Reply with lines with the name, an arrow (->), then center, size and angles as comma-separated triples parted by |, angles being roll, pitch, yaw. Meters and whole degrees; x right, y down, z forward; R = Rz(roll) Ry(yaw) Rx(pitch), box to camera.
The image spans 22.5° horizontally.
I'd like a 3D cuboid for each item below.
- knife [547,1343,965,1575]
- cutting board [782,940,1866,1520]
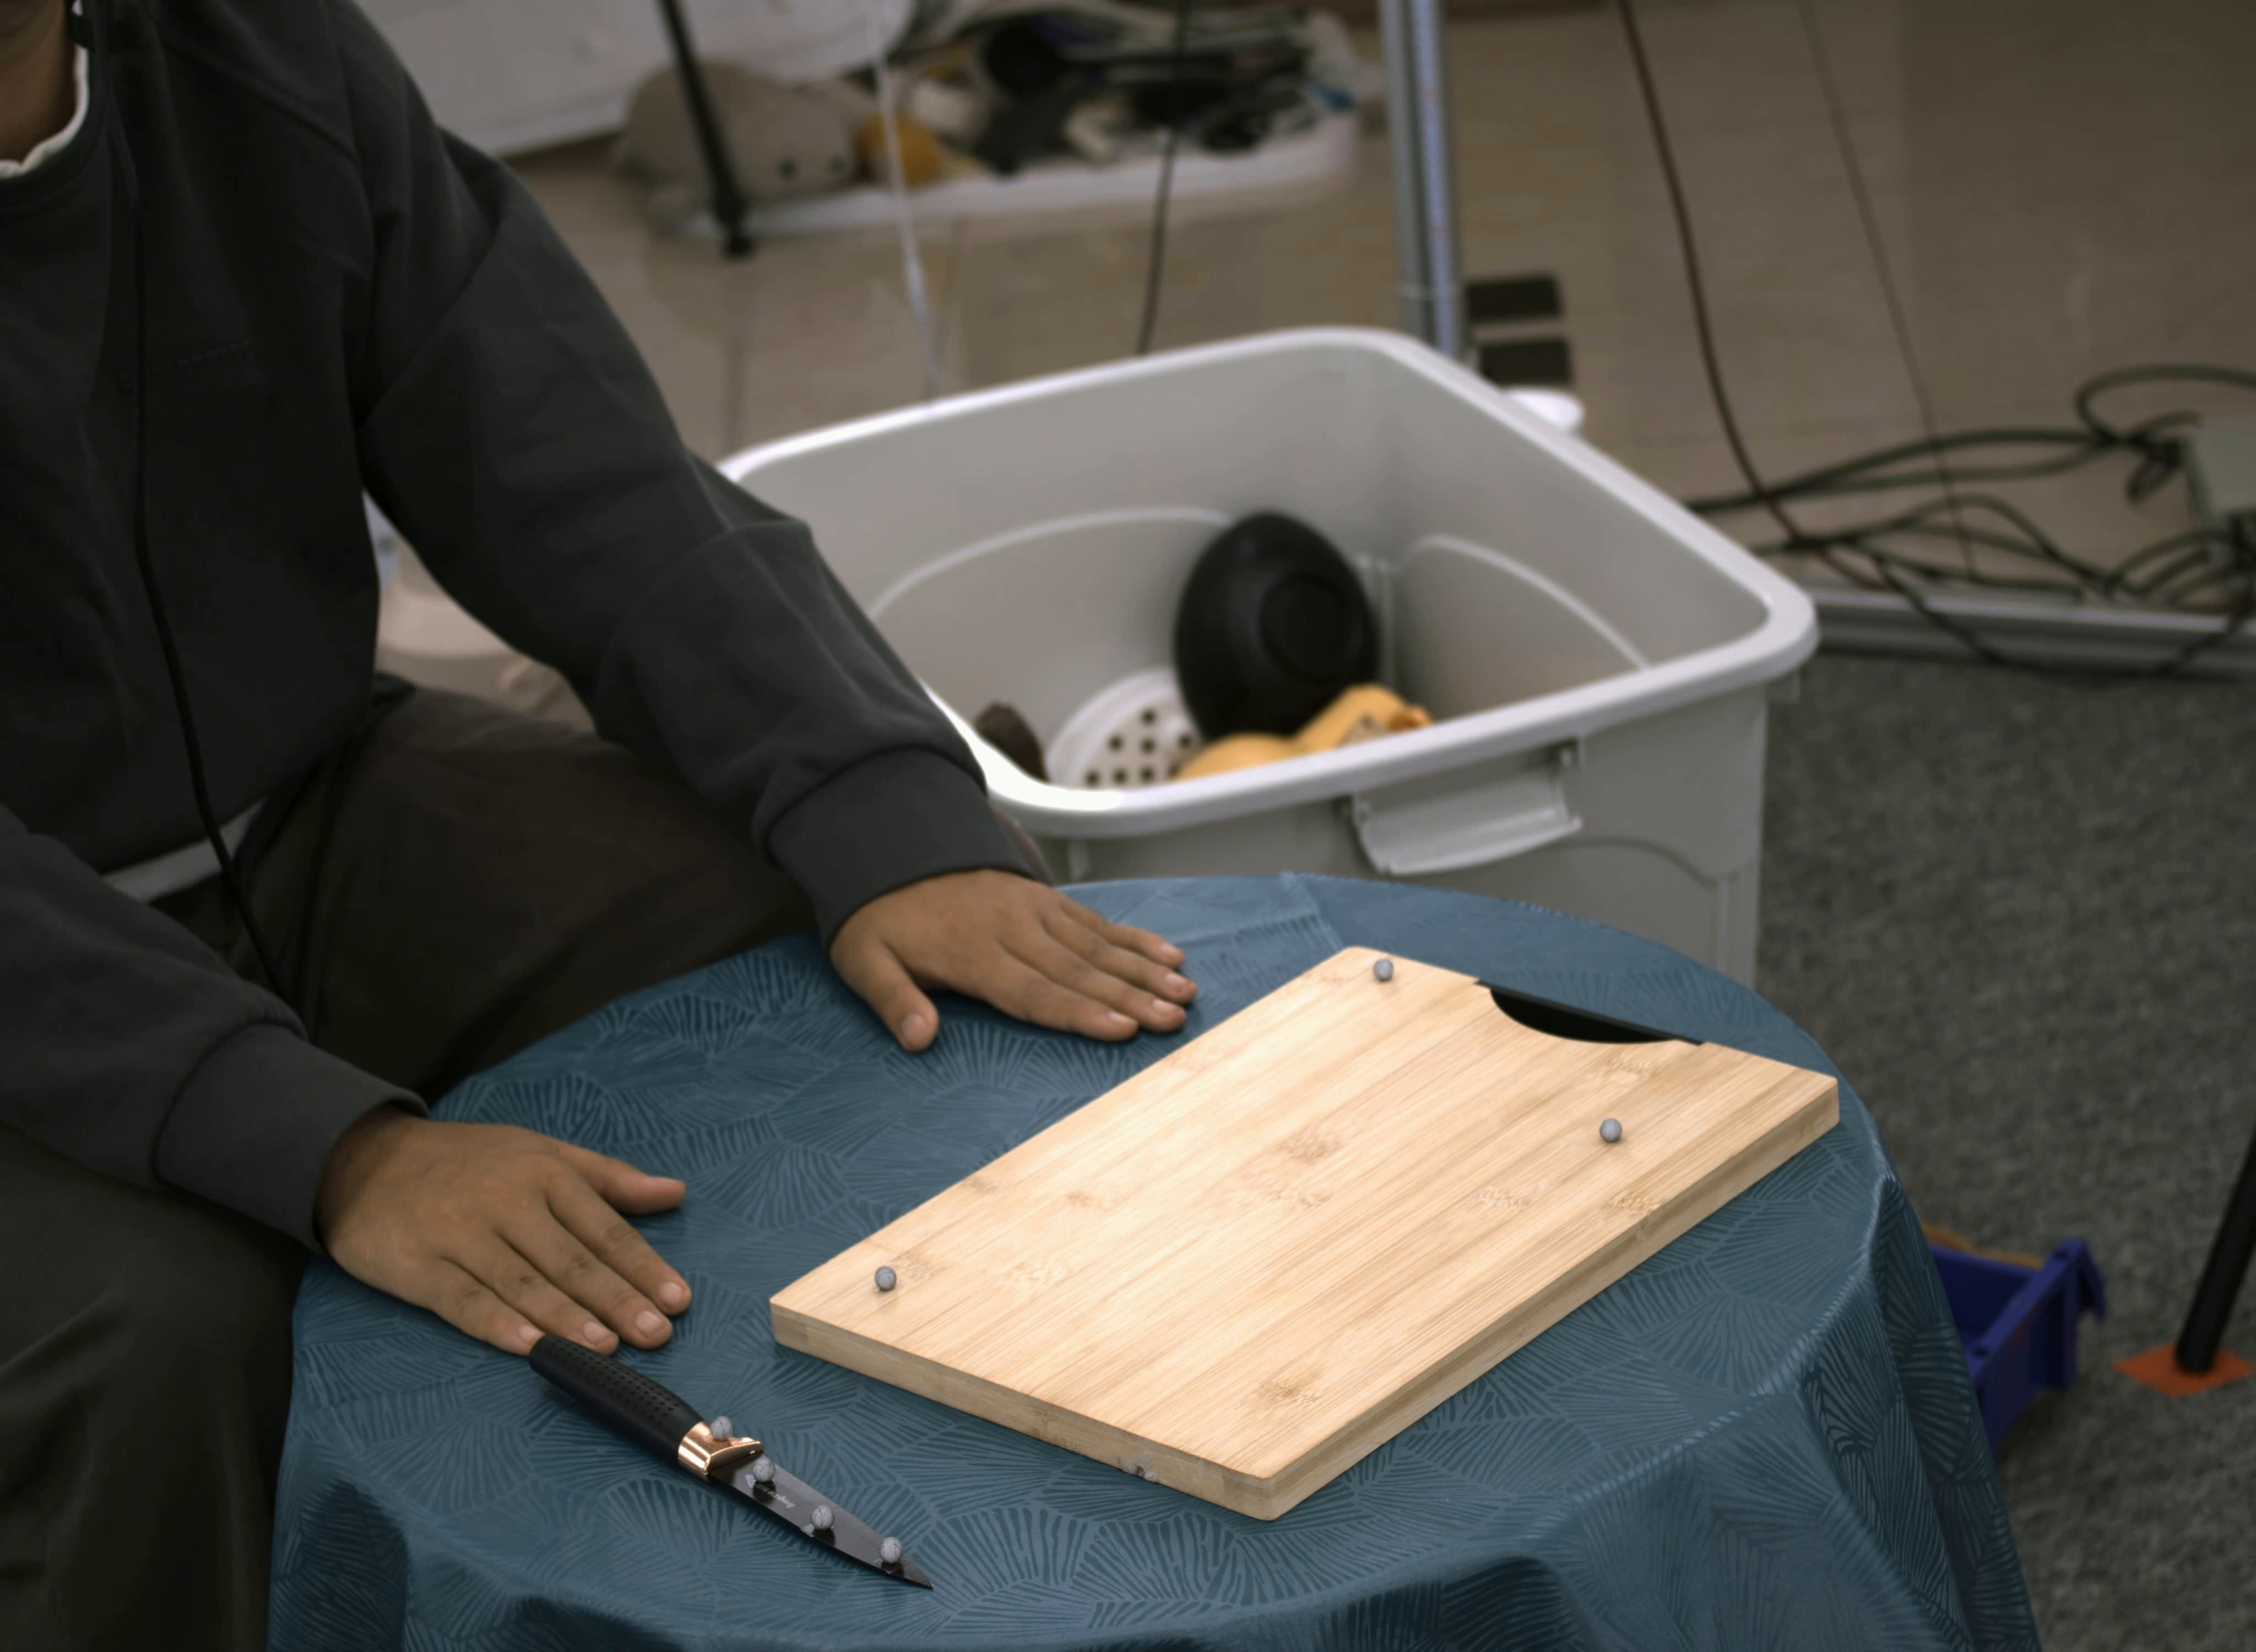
knife -> -0.133, 0.222, 1.987 | 0.026, 0.017, 0.223 | -18, 27, -37
cutting board -> 0.074, 0.141, 2.107 | 0.249, 0.024, 0.345 | 15, 32, 39
